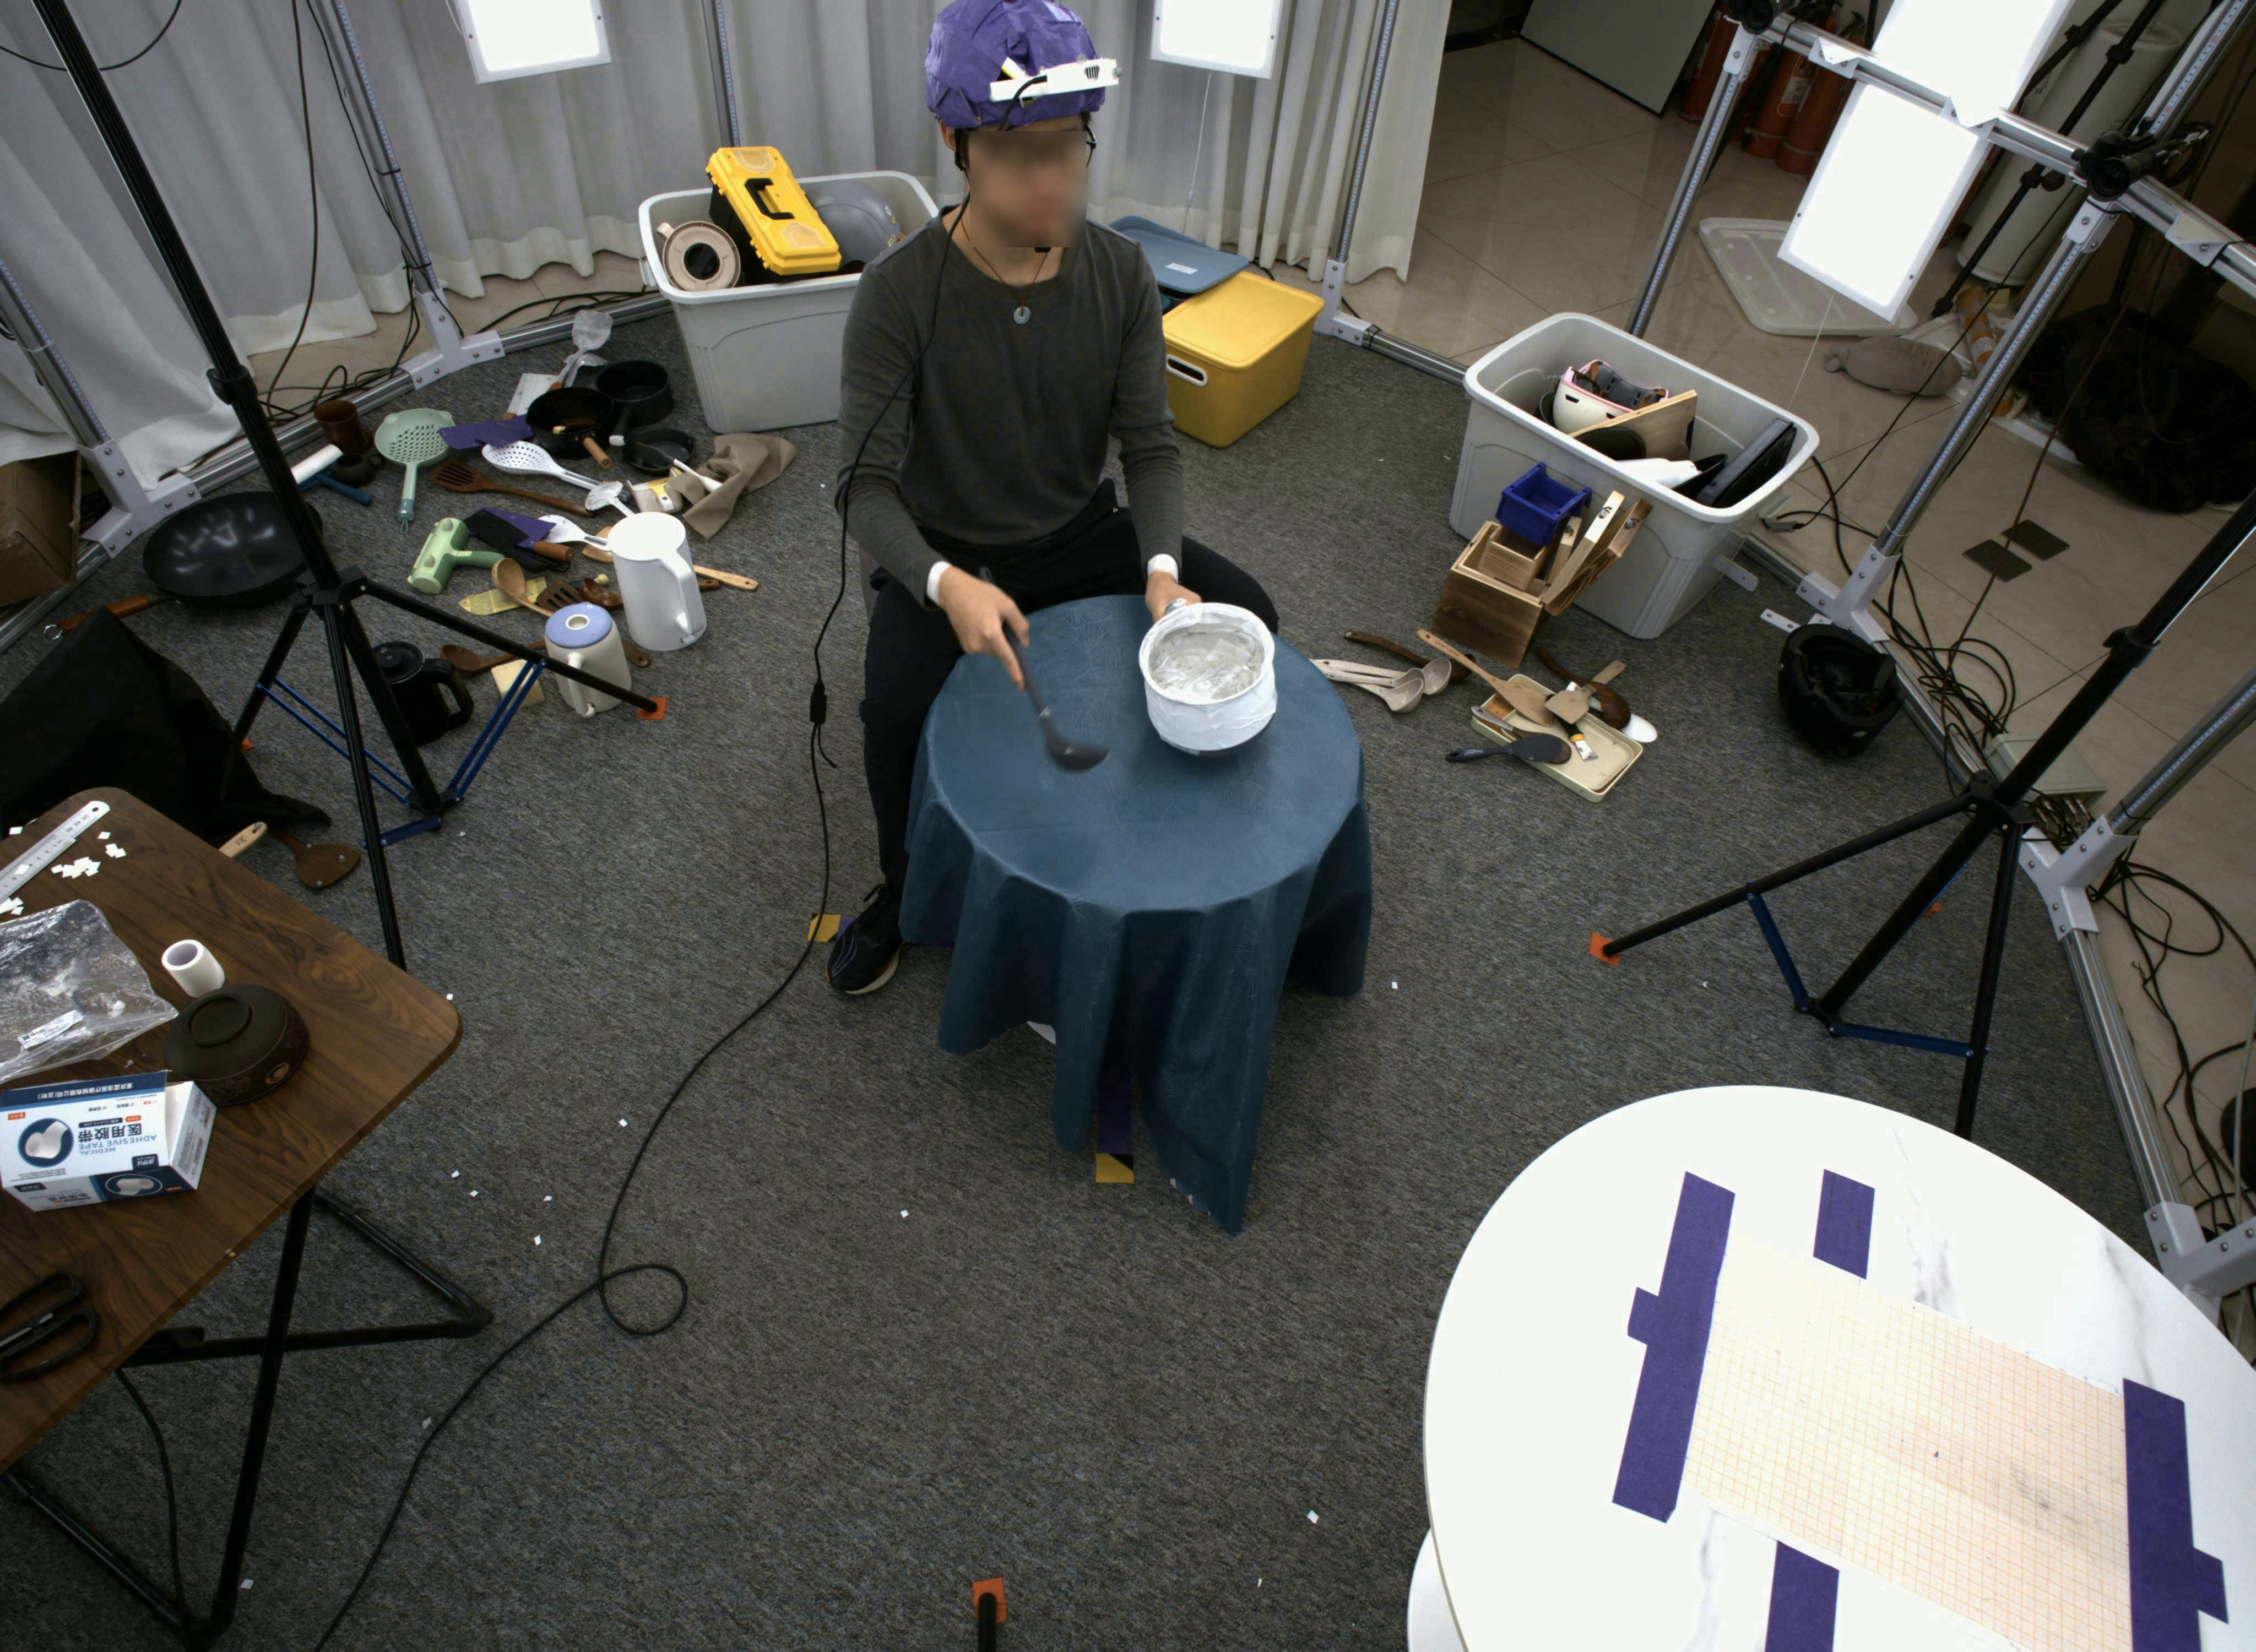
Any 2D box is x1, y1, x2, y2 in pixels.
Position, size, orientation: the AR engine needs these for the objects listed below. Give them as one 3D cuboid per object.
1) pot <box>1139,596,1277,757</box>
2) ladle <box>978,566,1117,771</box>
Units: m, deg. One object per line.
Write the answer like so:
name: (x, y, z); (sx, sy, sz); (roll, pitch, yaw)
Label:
pot: (0.099, -0.212, 1.730); (0.179, 0.133, 0.239); (-21, 55, -6)
ladle: (-0.111, -0.209, 1.620); (0.086, 0.063, 0.318); (-3, 64, -53)
